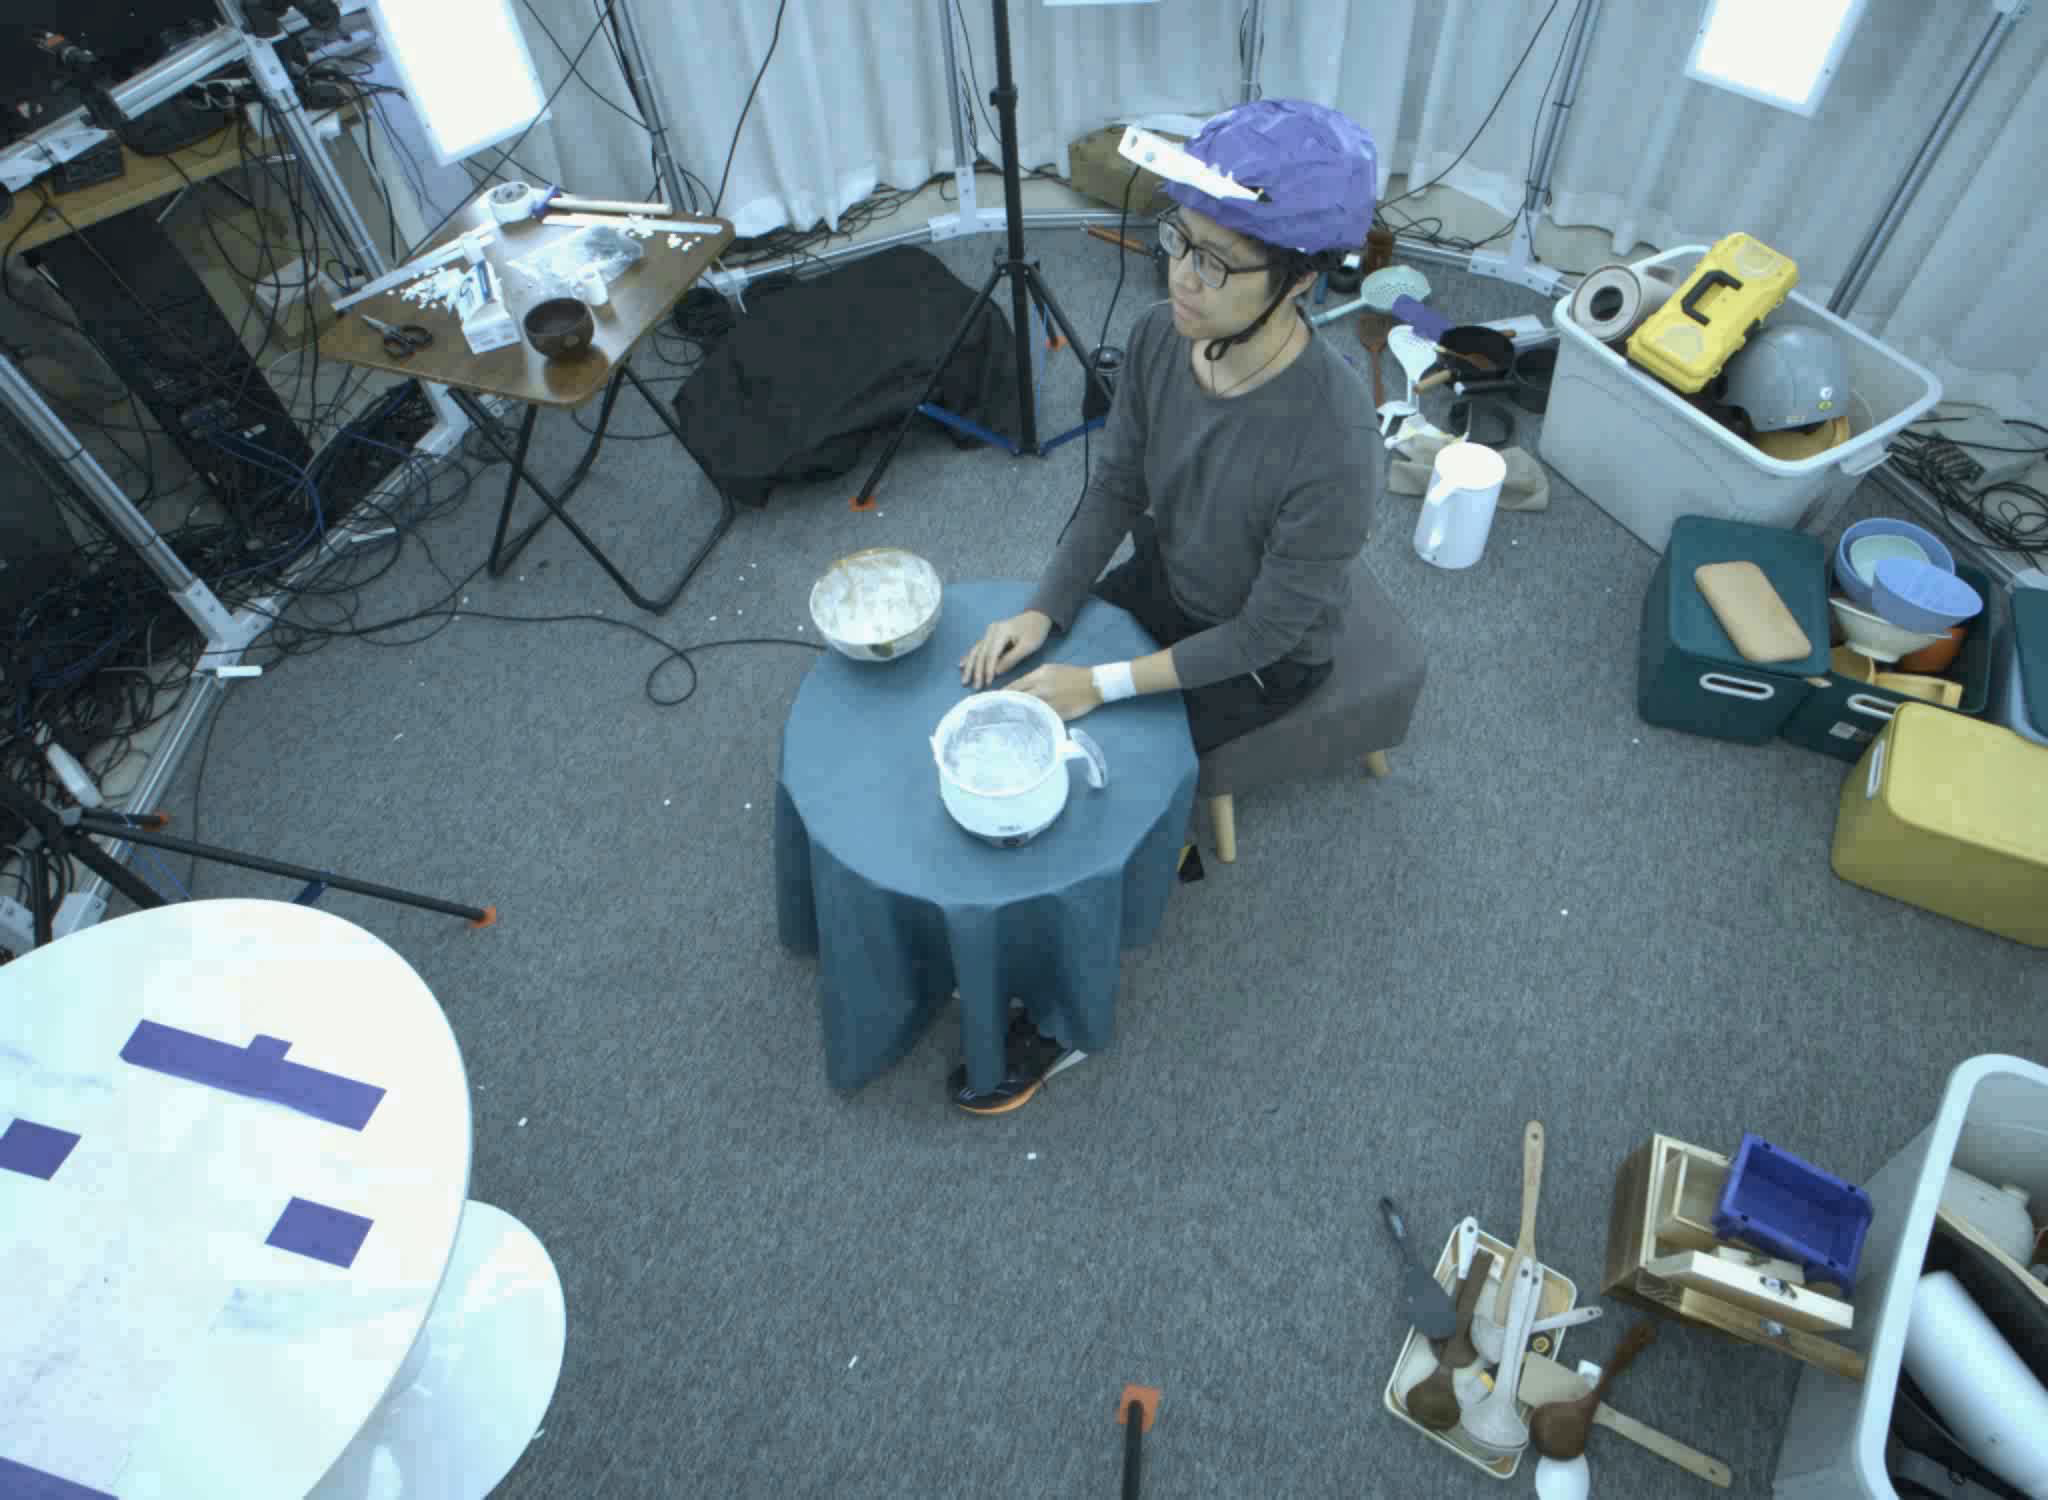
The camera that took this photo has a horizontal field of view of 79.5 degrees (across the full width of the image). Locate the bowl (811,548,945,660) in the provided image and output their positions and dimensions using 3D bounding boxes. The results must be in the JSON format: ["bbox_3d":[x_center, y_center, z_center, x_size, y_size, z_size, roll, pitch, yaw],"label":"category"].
[{"bbox_3d":[-0.220,-0.210,1.894,0.214,0.095,0.212,0,52,1],"label":"bowl"}]

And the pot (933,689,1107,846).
[{"bbox_3d":[-0.002,0.022,1.695,0.234,0.138,0.176,-7,55,-3],"label":"pot"}]
